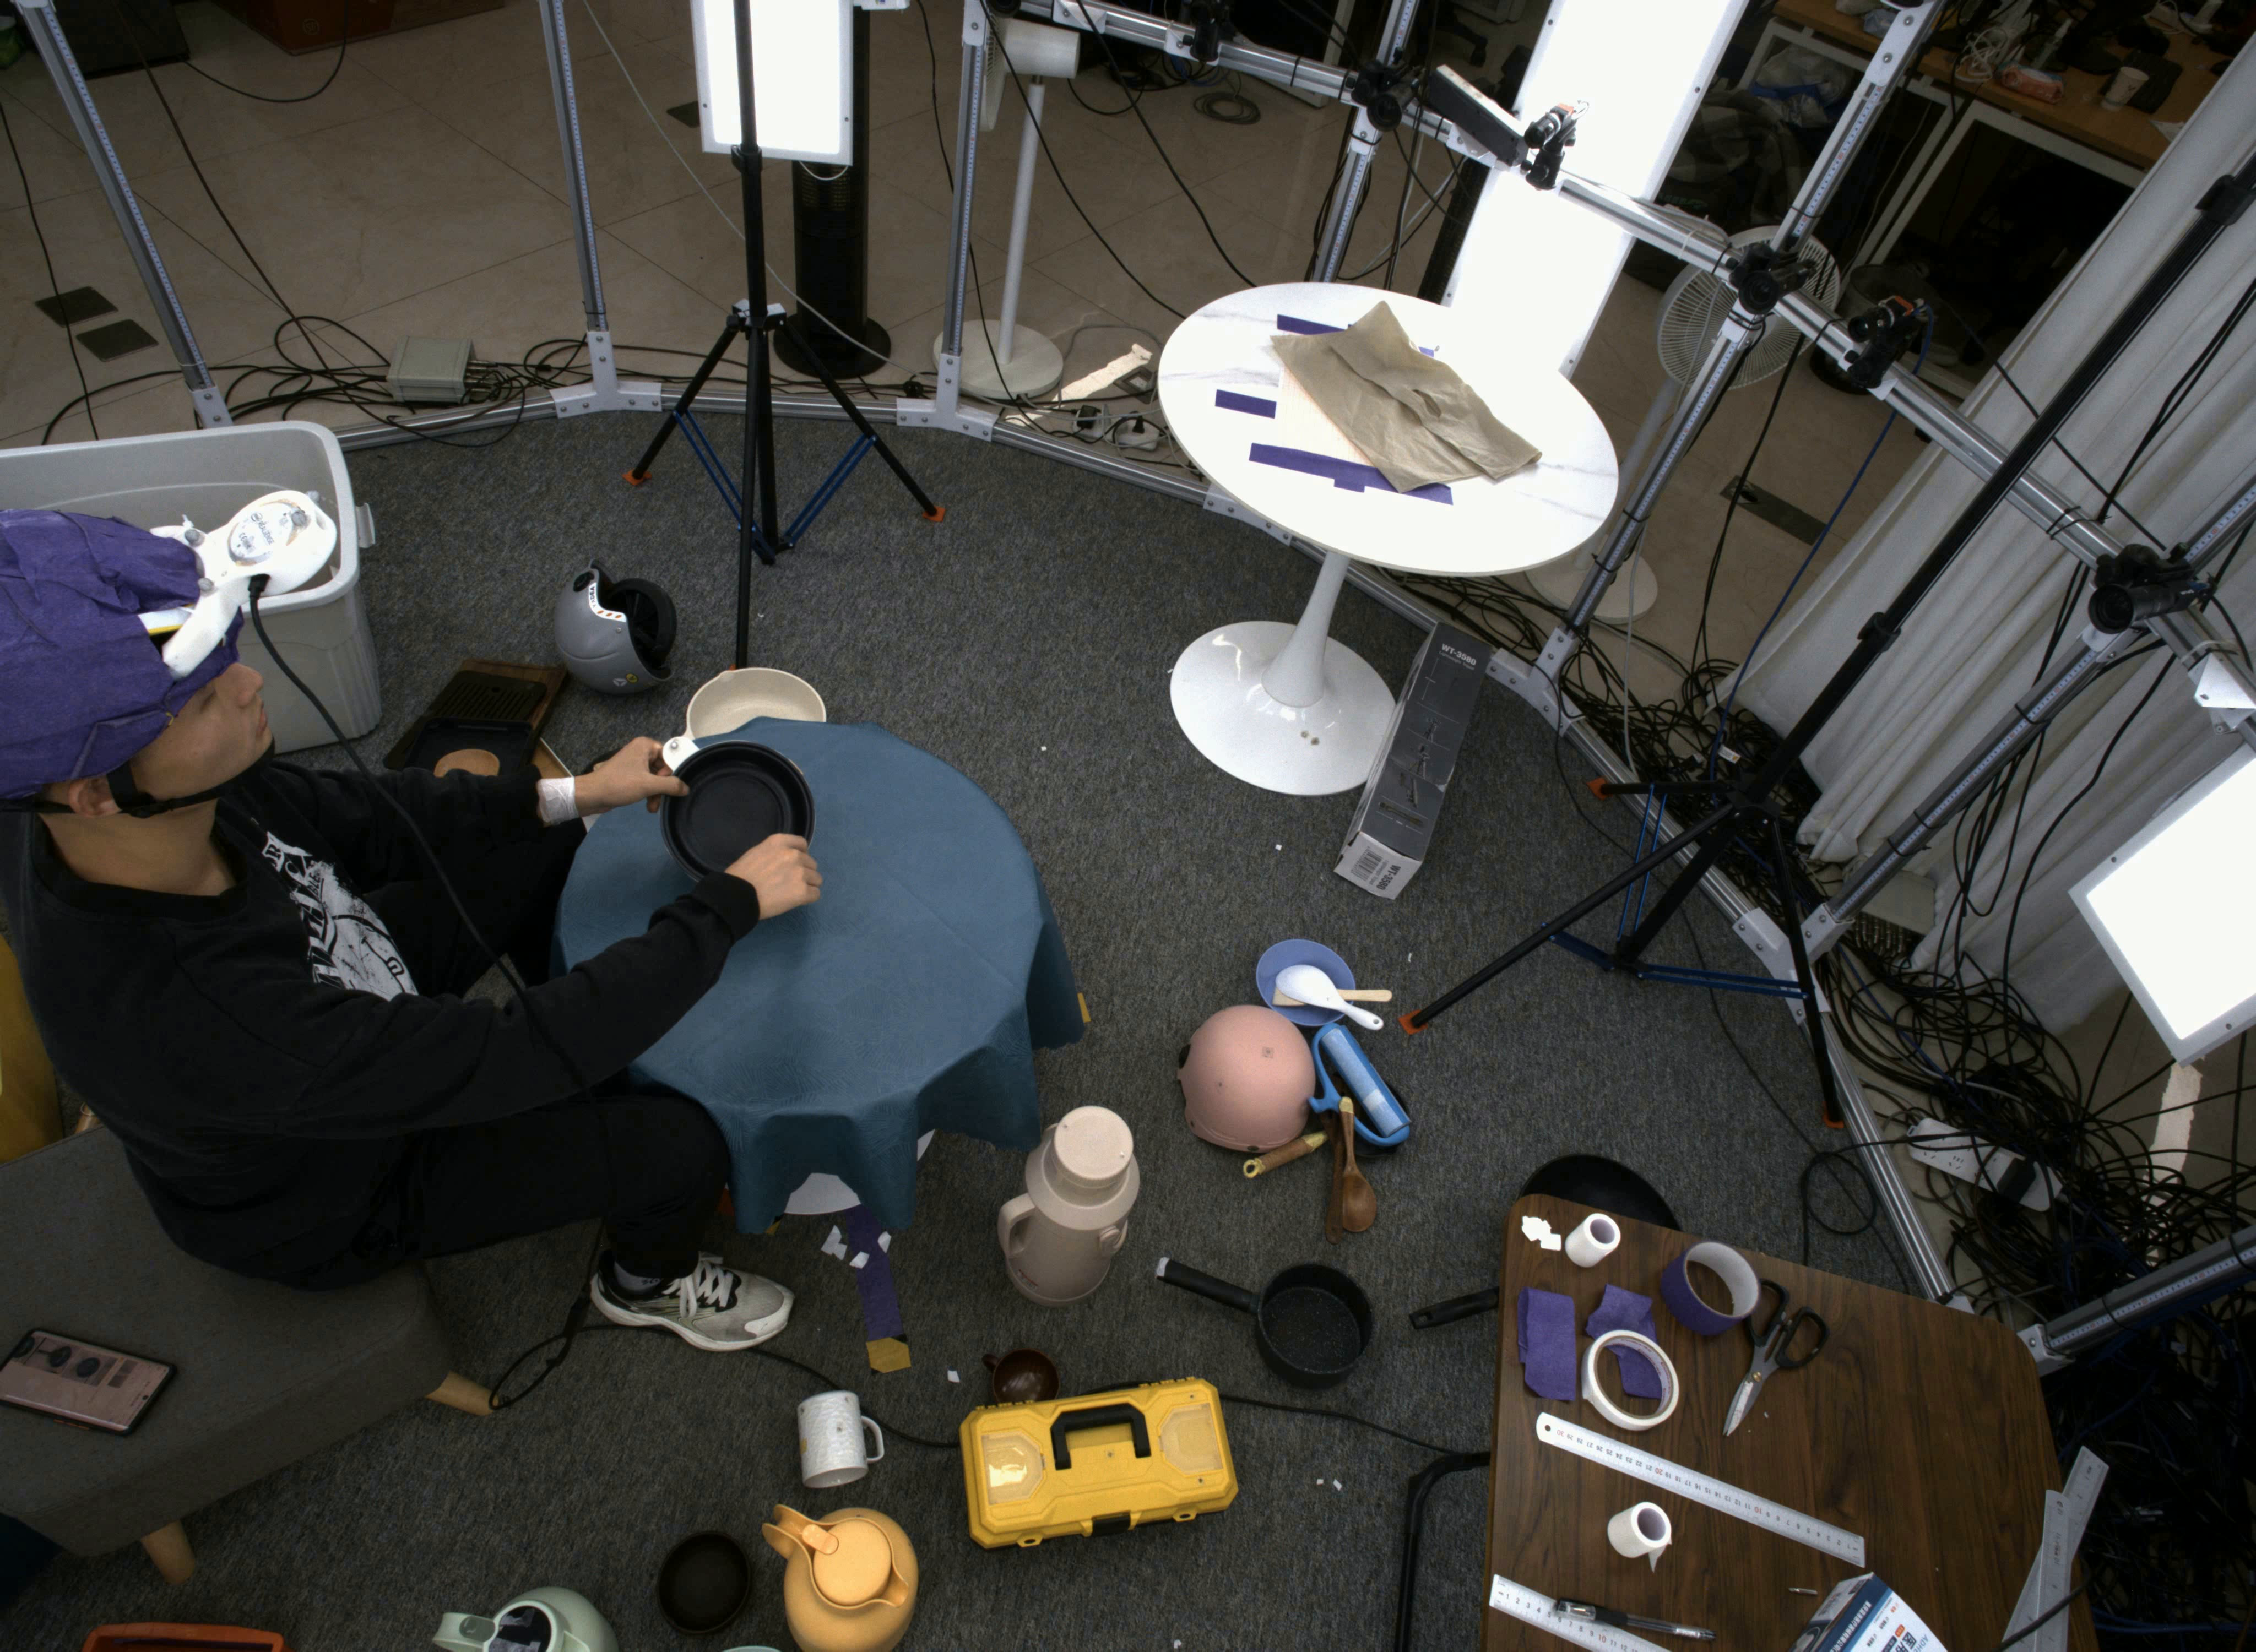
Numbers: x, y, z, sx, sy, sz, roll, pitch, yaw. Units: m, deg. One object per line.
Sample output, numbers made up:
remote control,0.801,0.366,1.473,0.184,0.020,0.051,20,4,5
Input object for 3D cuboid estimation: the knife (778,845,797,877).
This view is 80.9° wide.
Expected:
knife,-0.395,0.034,1.519,0.017,0.221,0.026,-2,96,-10

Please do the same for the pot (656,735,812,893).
pot,-0.482,-0.017,1.596,0.190,0.140,0.245,-45,104,-12
